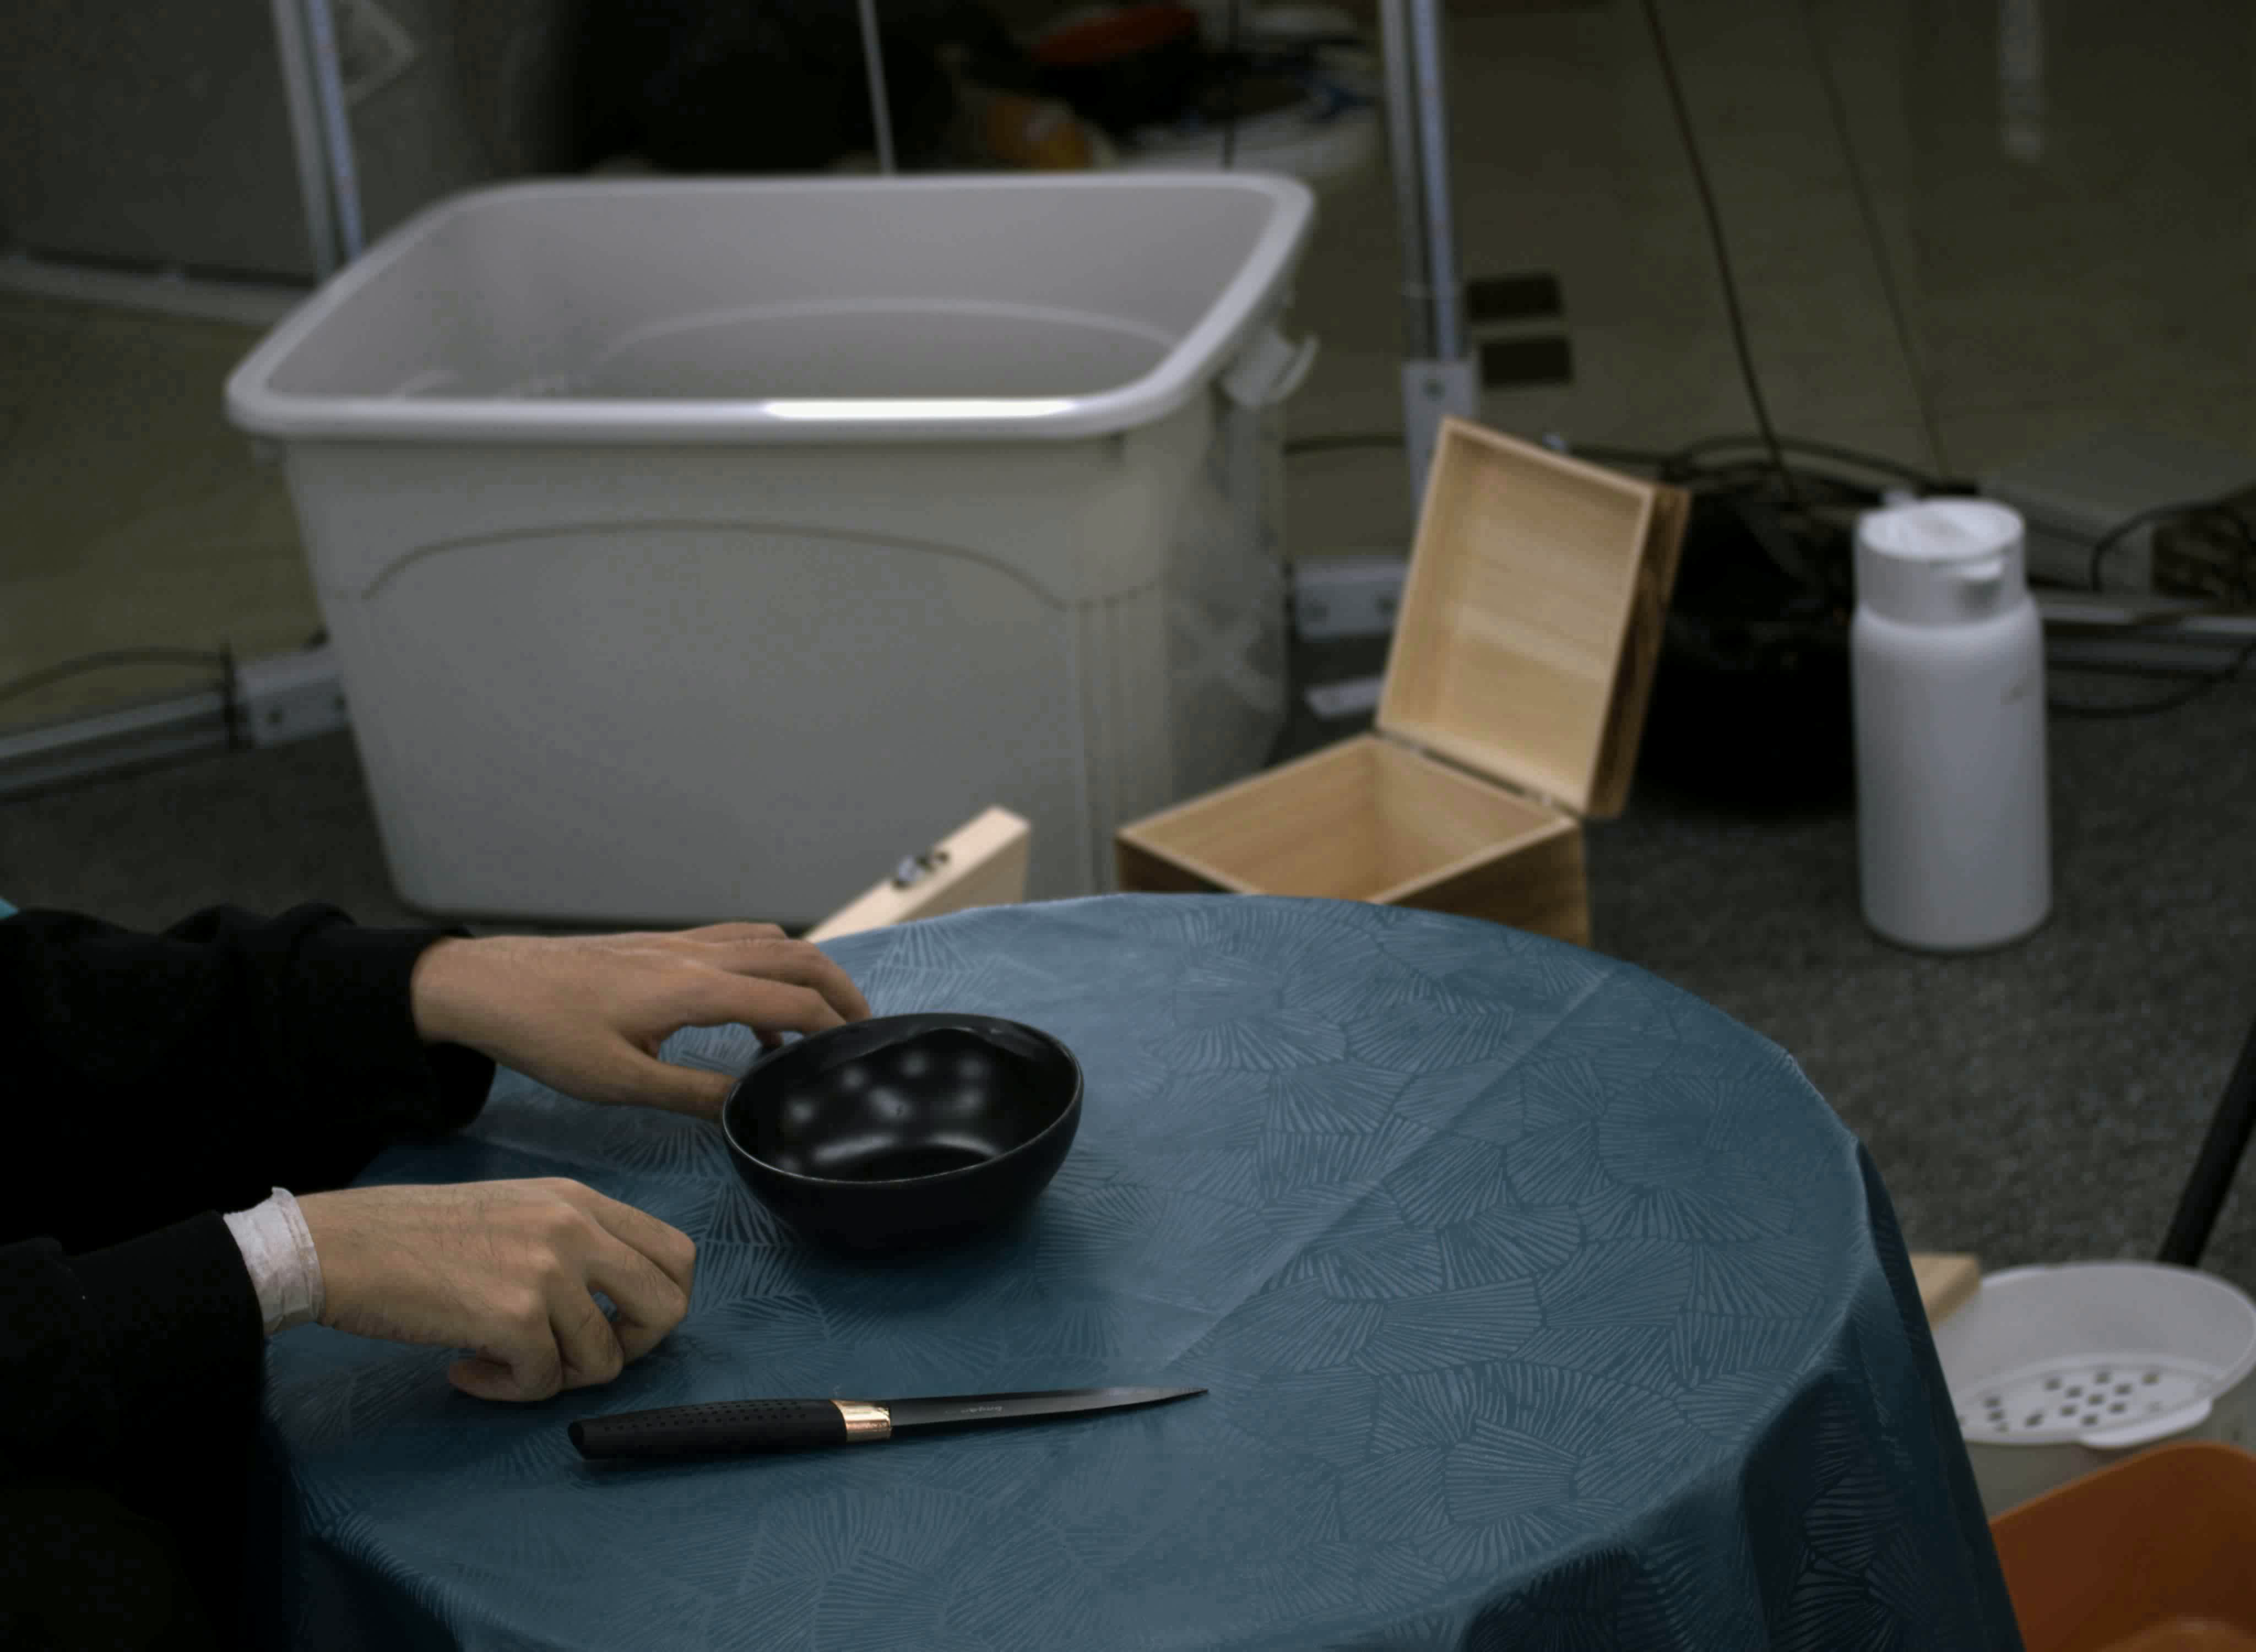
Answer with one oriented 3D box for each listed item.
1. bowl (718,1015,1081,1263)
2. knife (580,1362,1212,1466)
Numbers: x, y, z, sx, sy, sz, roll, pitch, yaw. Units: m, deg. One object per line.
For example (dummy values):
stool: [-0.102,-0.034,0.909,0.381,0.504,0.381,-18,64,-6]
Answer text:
bowl: [-0.083,0.126,2.143,0.140,0.050,0.138,-9,27,5]
knife: [-0.081,0.207,2.008,0.225,0.017,0.026,-6,23,-2]
